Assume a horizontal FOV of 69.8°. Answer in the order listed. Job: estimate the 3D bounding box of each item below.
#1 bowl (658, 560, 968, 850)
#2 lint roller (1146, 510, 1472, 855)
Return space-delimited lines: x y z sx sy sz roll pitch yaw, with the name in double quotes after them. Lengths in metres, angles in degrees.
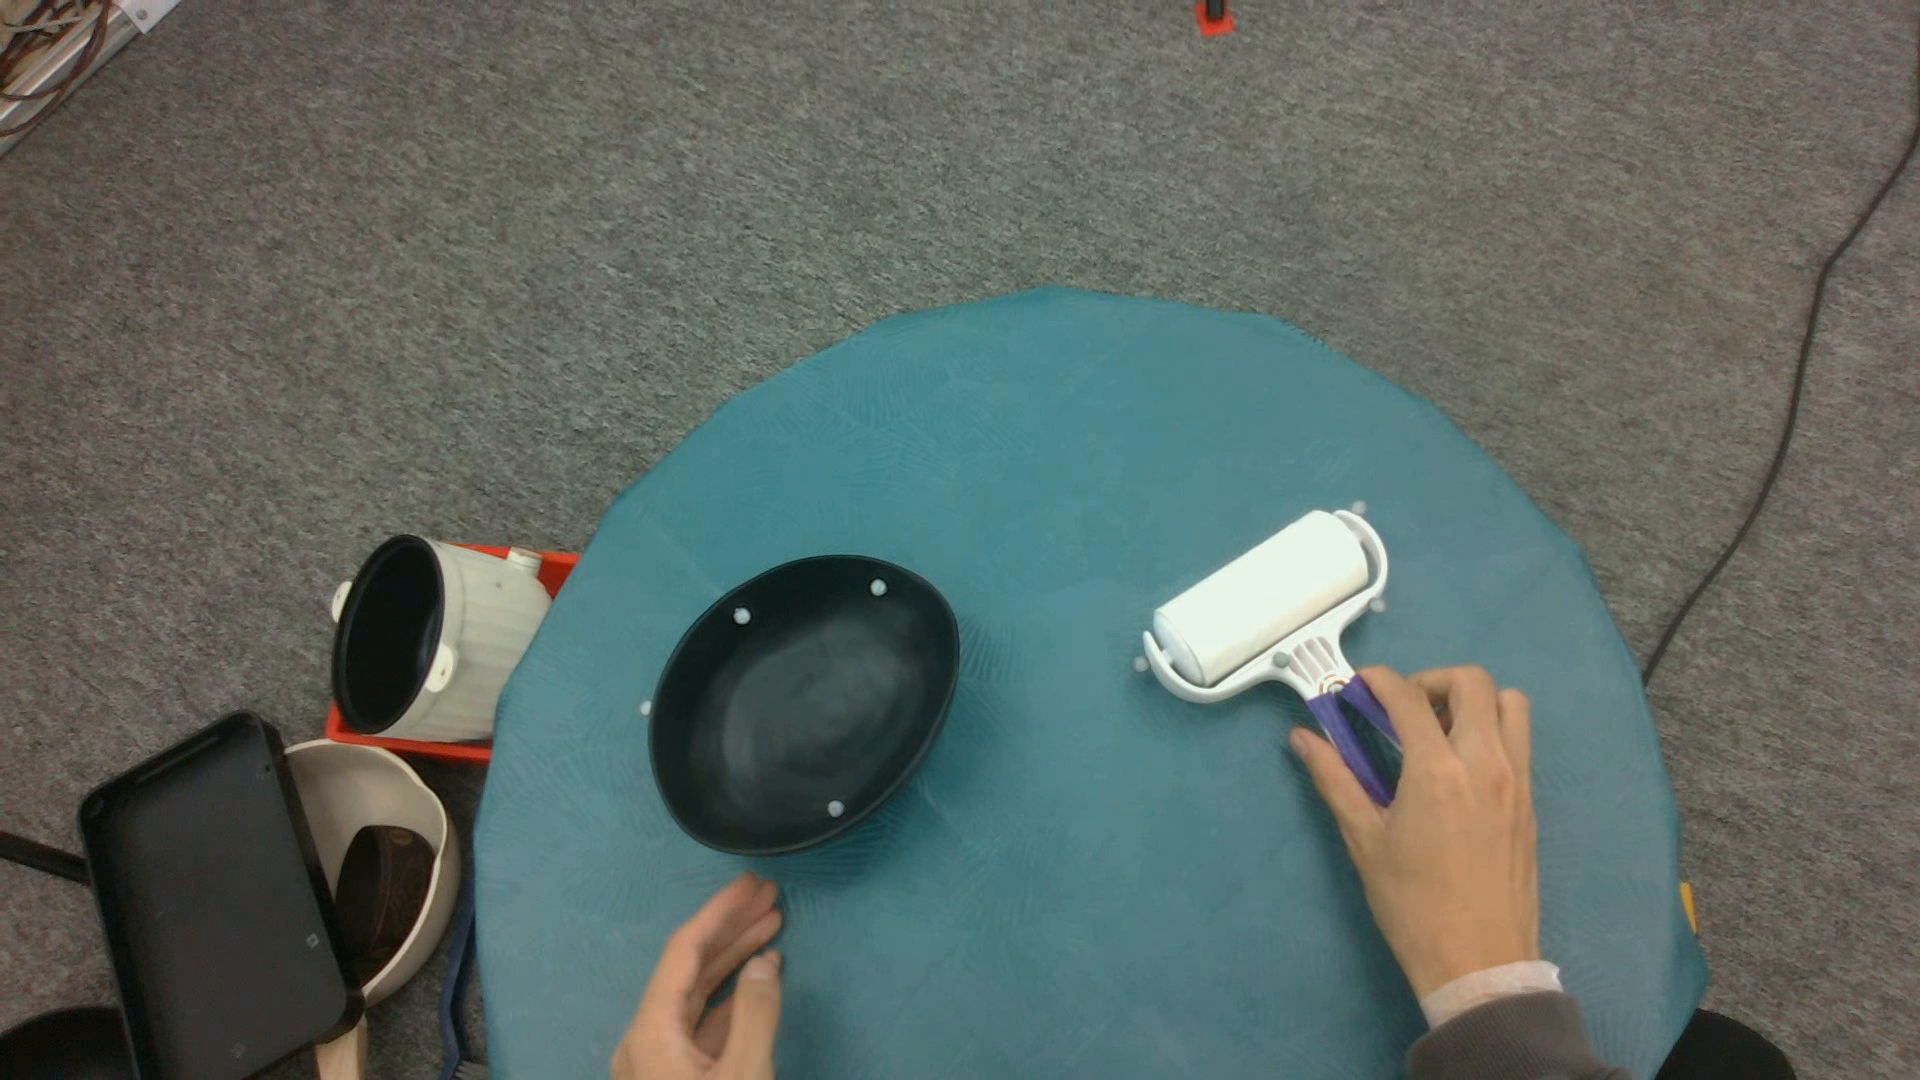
-0.071 0.087 0.709 0.137 0.066 0.171 40 74 21 "bowl"
0.187 0.076 0.680 0.133 0.050 0.181 -29 57 -6 "lint roller"
